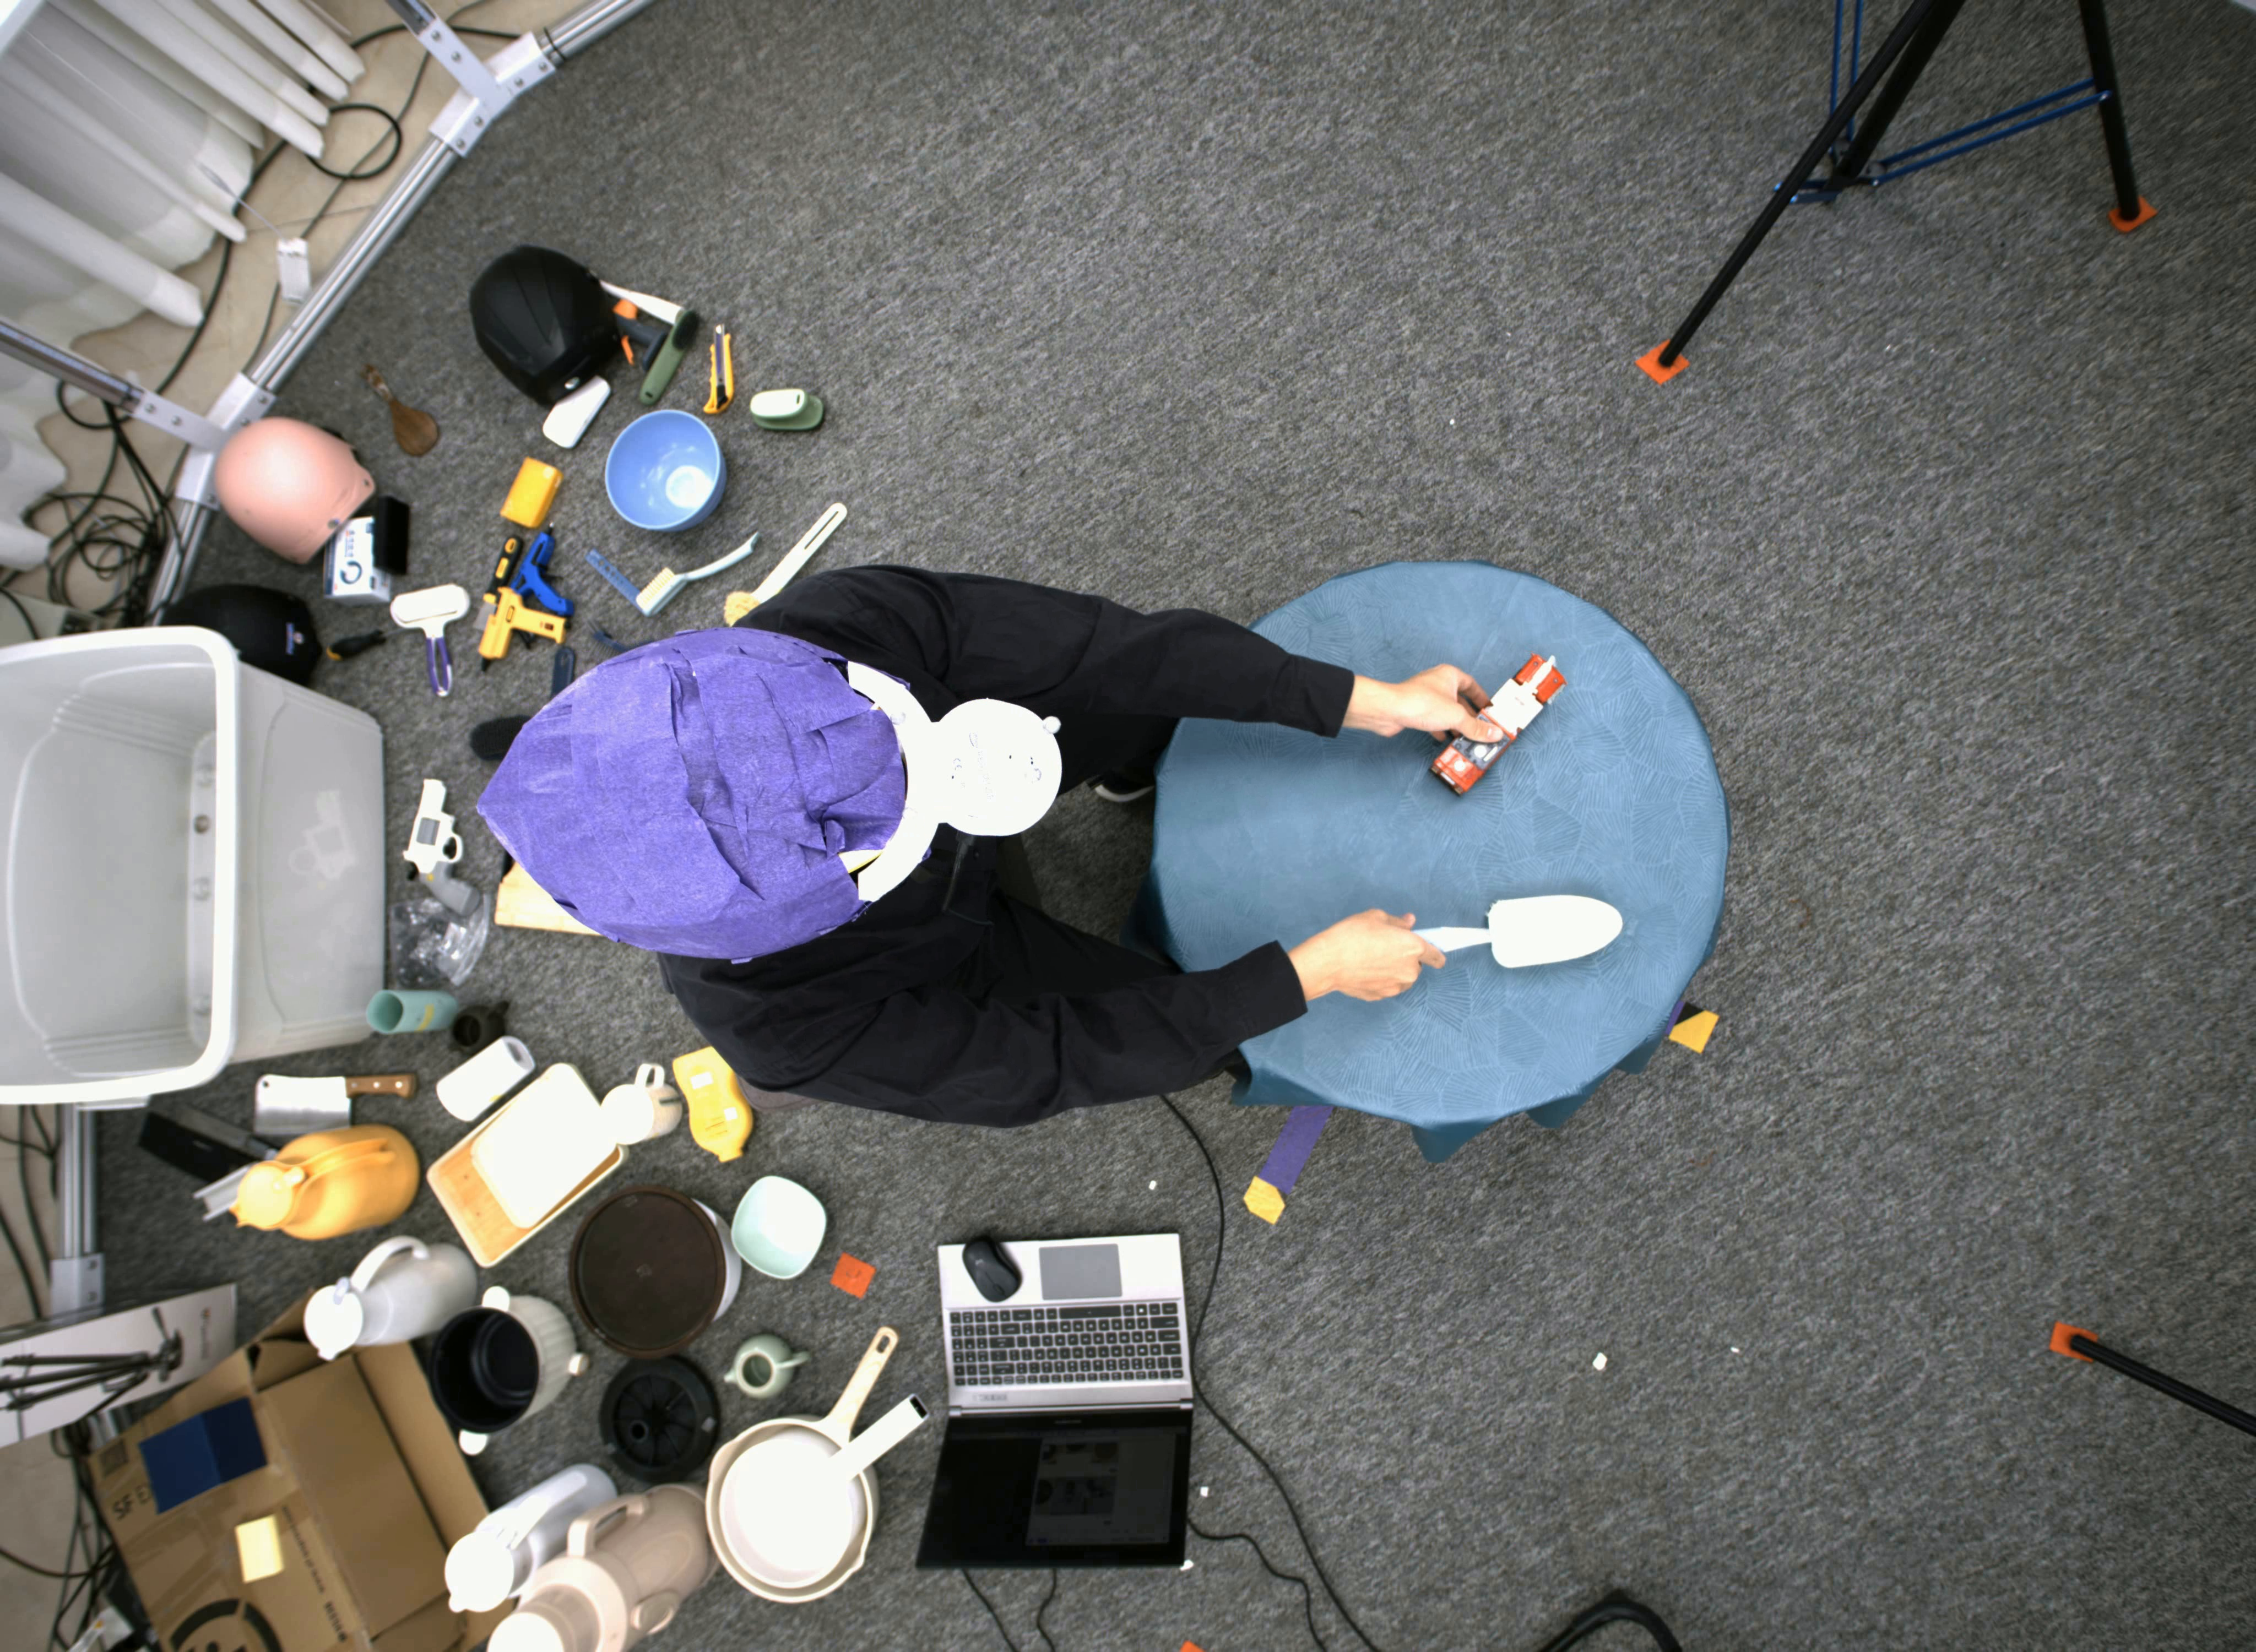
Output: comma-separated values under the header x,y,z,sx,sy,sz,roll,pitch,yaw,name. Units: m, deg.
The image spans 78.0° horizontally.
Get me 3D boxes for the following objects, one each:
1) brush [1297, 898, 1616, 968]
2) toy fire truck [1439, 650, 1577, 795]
x,y,z,sx,sy,sz,roll,pitch,yaw,name
0.331,0.109,1.405,0.326,0.086,0.081,-5,47,1,brush
0.393,-0.111,1.413,0.054,0.070,0.169,41,96,8,toy fire truck
